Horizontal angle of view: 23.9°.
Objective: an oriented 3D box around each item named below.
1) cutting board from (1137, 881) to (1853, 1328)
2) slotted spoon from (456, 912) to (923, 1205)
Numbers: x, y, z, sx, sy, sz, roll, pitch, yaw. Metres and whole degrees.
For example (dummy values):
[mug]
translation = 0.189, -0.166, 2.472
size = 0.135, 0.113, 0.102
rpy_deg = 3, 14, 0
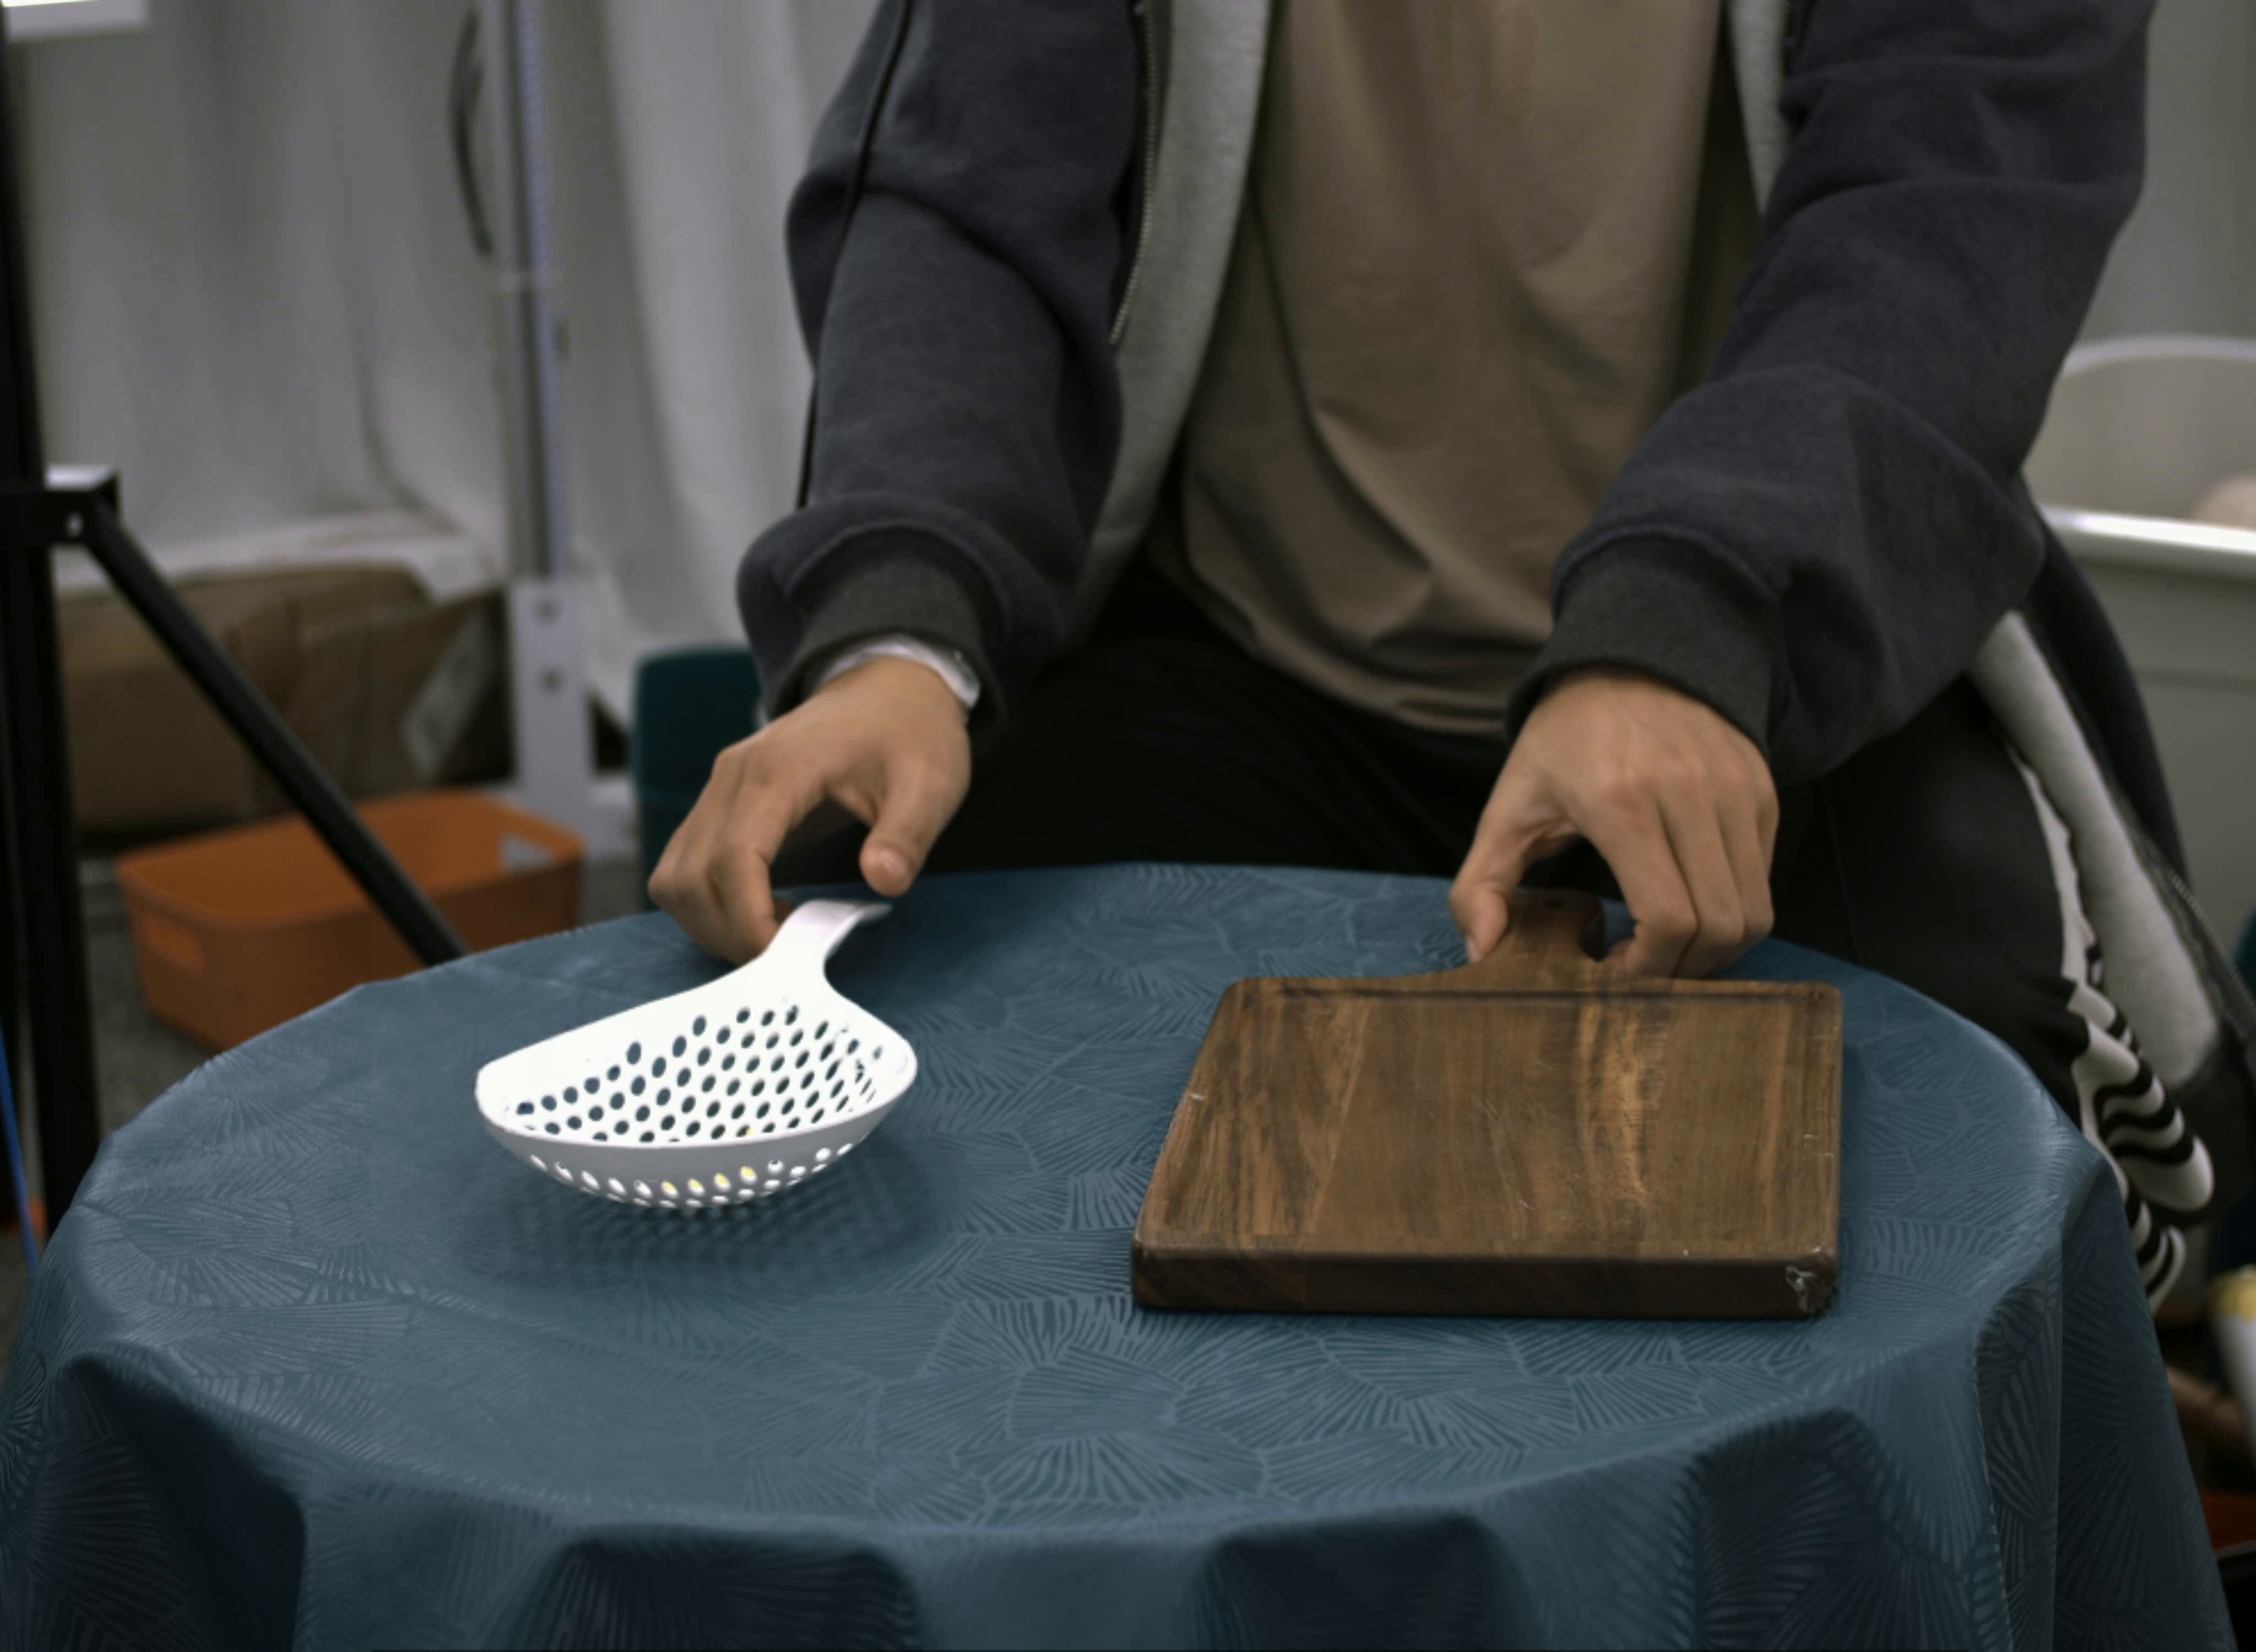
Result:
[cutting board]
translation = 0.119, 0.078, 1.609
size = 0.201, 0.023, 0.351
rpy_deg = 0, 16, 8
[slotted spoon]
translation = -0.113, 0.059, 1.676
size = 0.137, 0.050, 0.347
rpy_deg = -3, 16, 9
